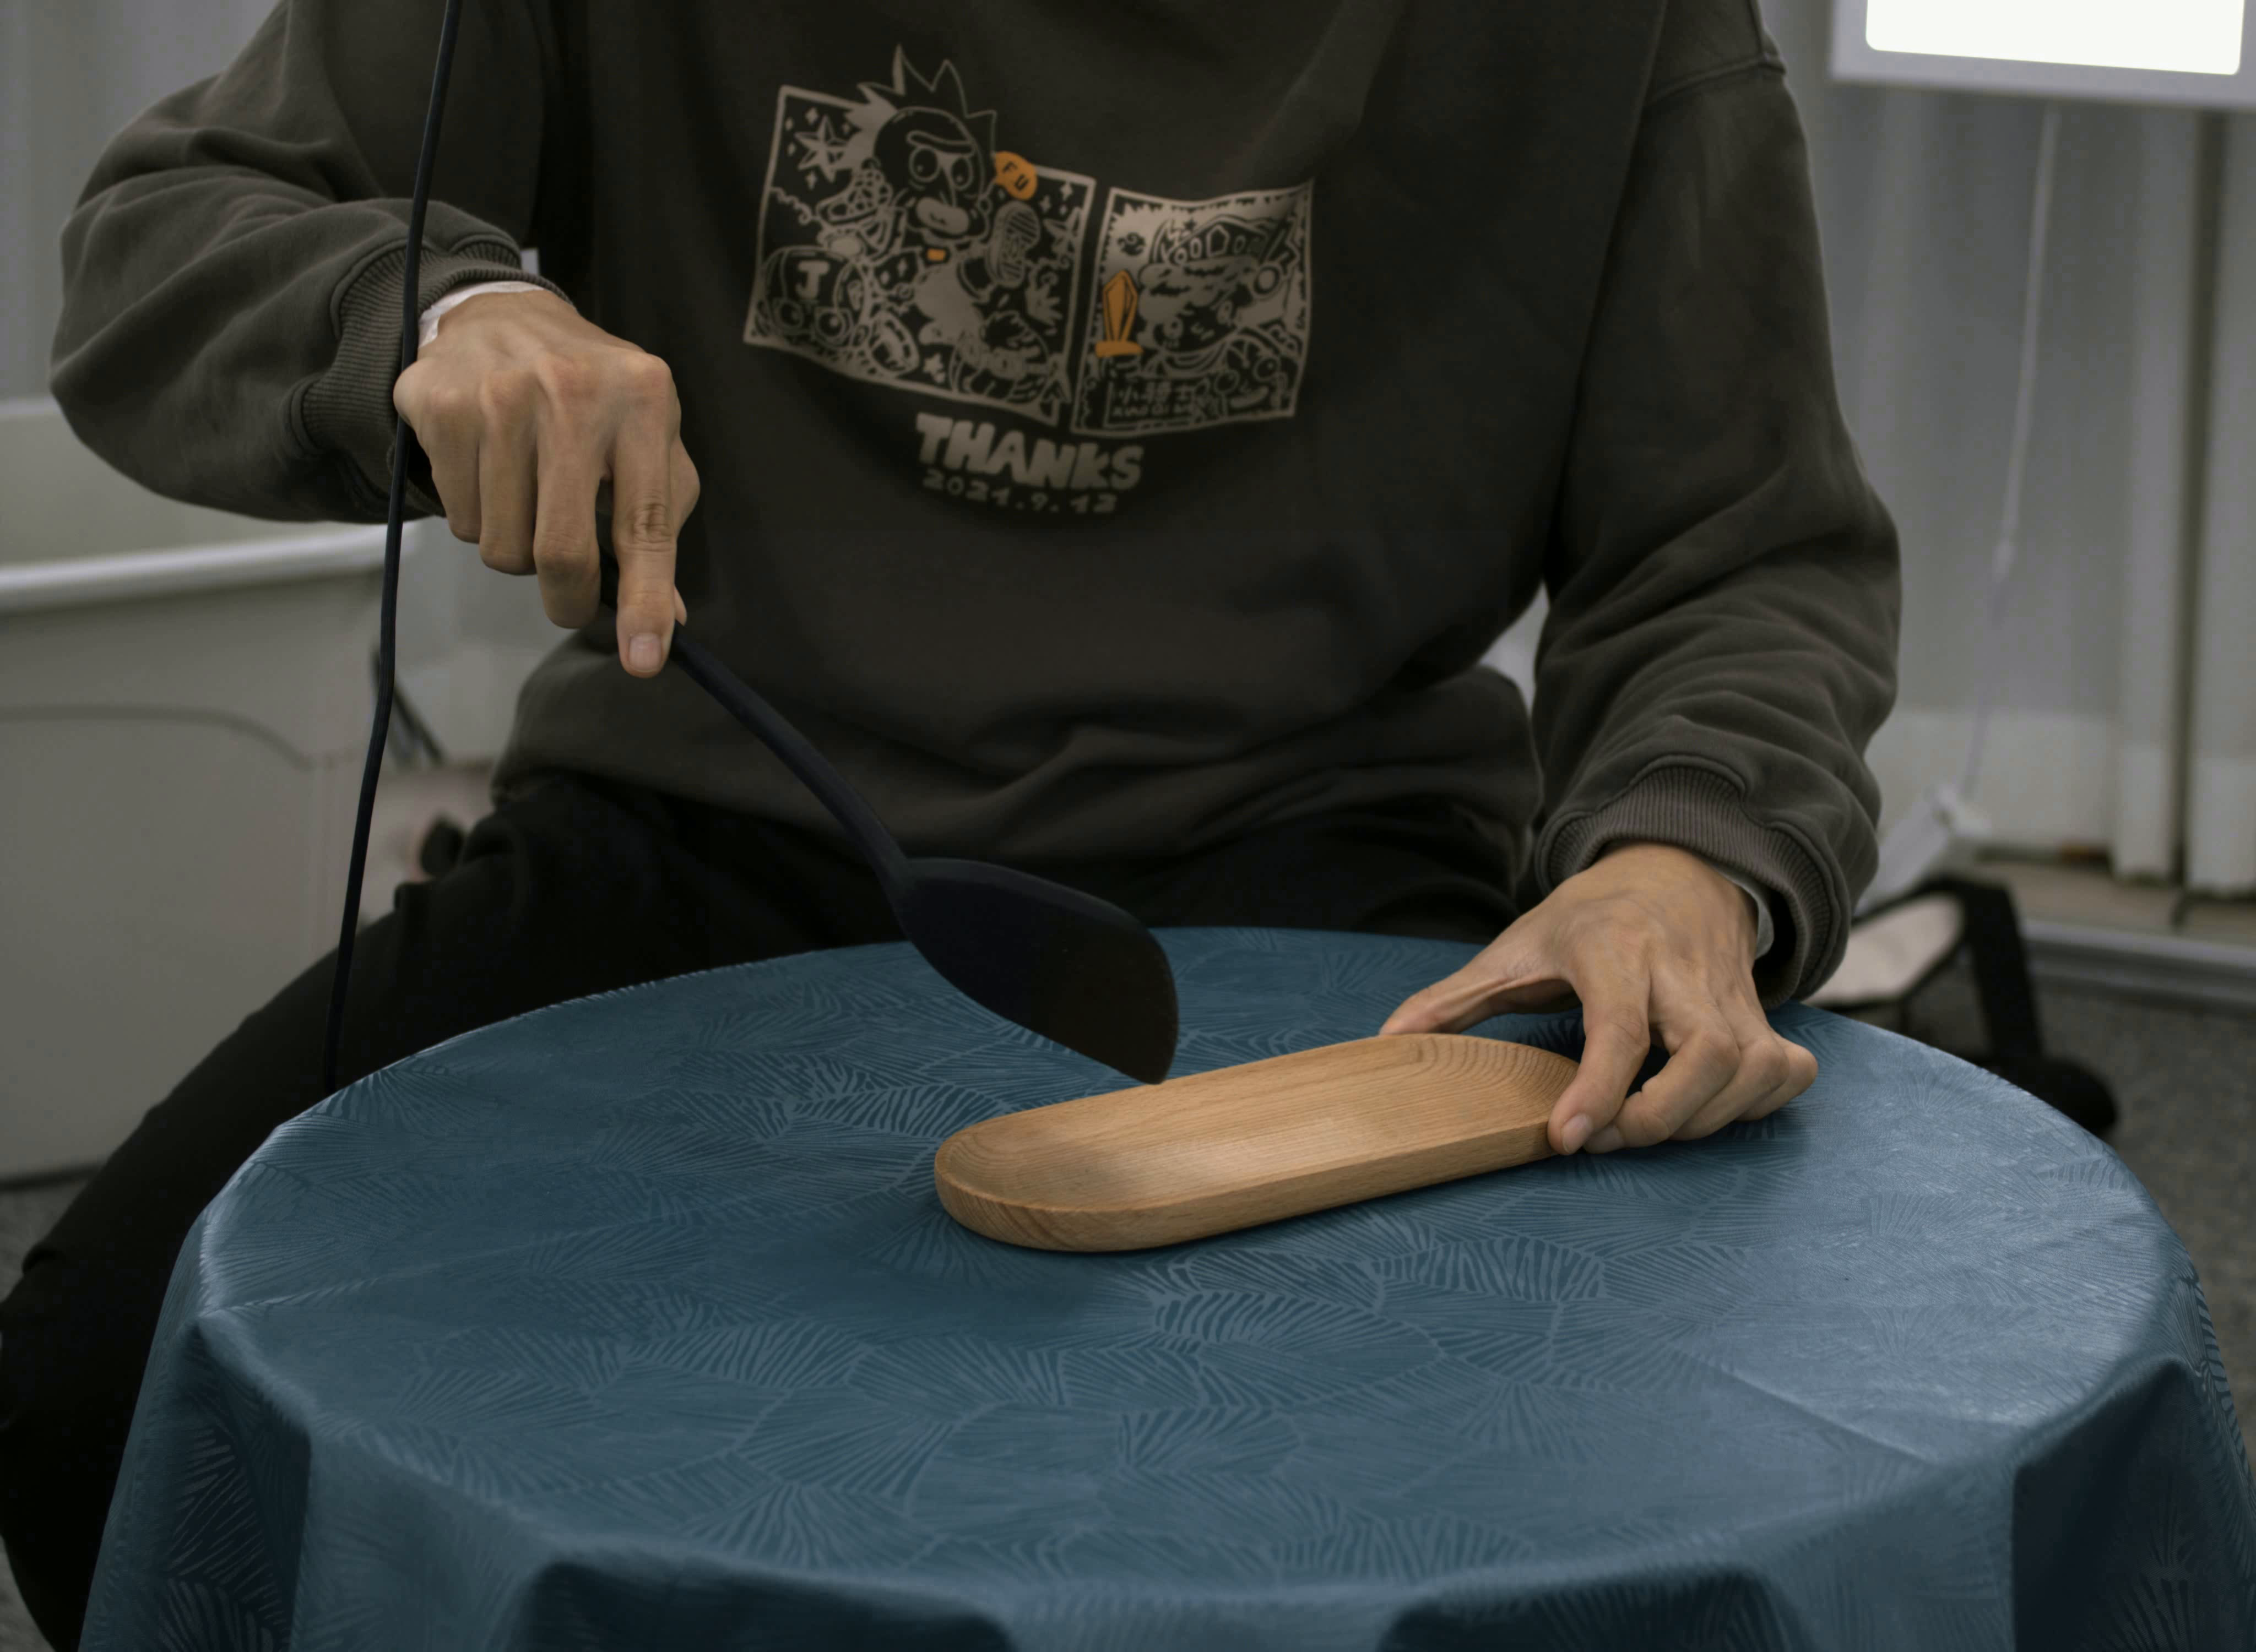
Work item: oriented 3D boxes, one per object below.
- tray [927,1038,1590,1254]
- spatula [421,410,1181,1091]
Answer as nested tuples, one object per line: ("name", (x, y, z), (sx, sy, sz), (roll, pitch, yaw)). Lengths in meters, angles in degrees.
("tray", (0.043, 0.099, 1.650), (0.232, 0.020, 0.100), (-11, 18, -33))
("spatula", (-0.107, -0.034, 1.628), (0.040, 0.100, 0.323), (-37, 67, -22))
